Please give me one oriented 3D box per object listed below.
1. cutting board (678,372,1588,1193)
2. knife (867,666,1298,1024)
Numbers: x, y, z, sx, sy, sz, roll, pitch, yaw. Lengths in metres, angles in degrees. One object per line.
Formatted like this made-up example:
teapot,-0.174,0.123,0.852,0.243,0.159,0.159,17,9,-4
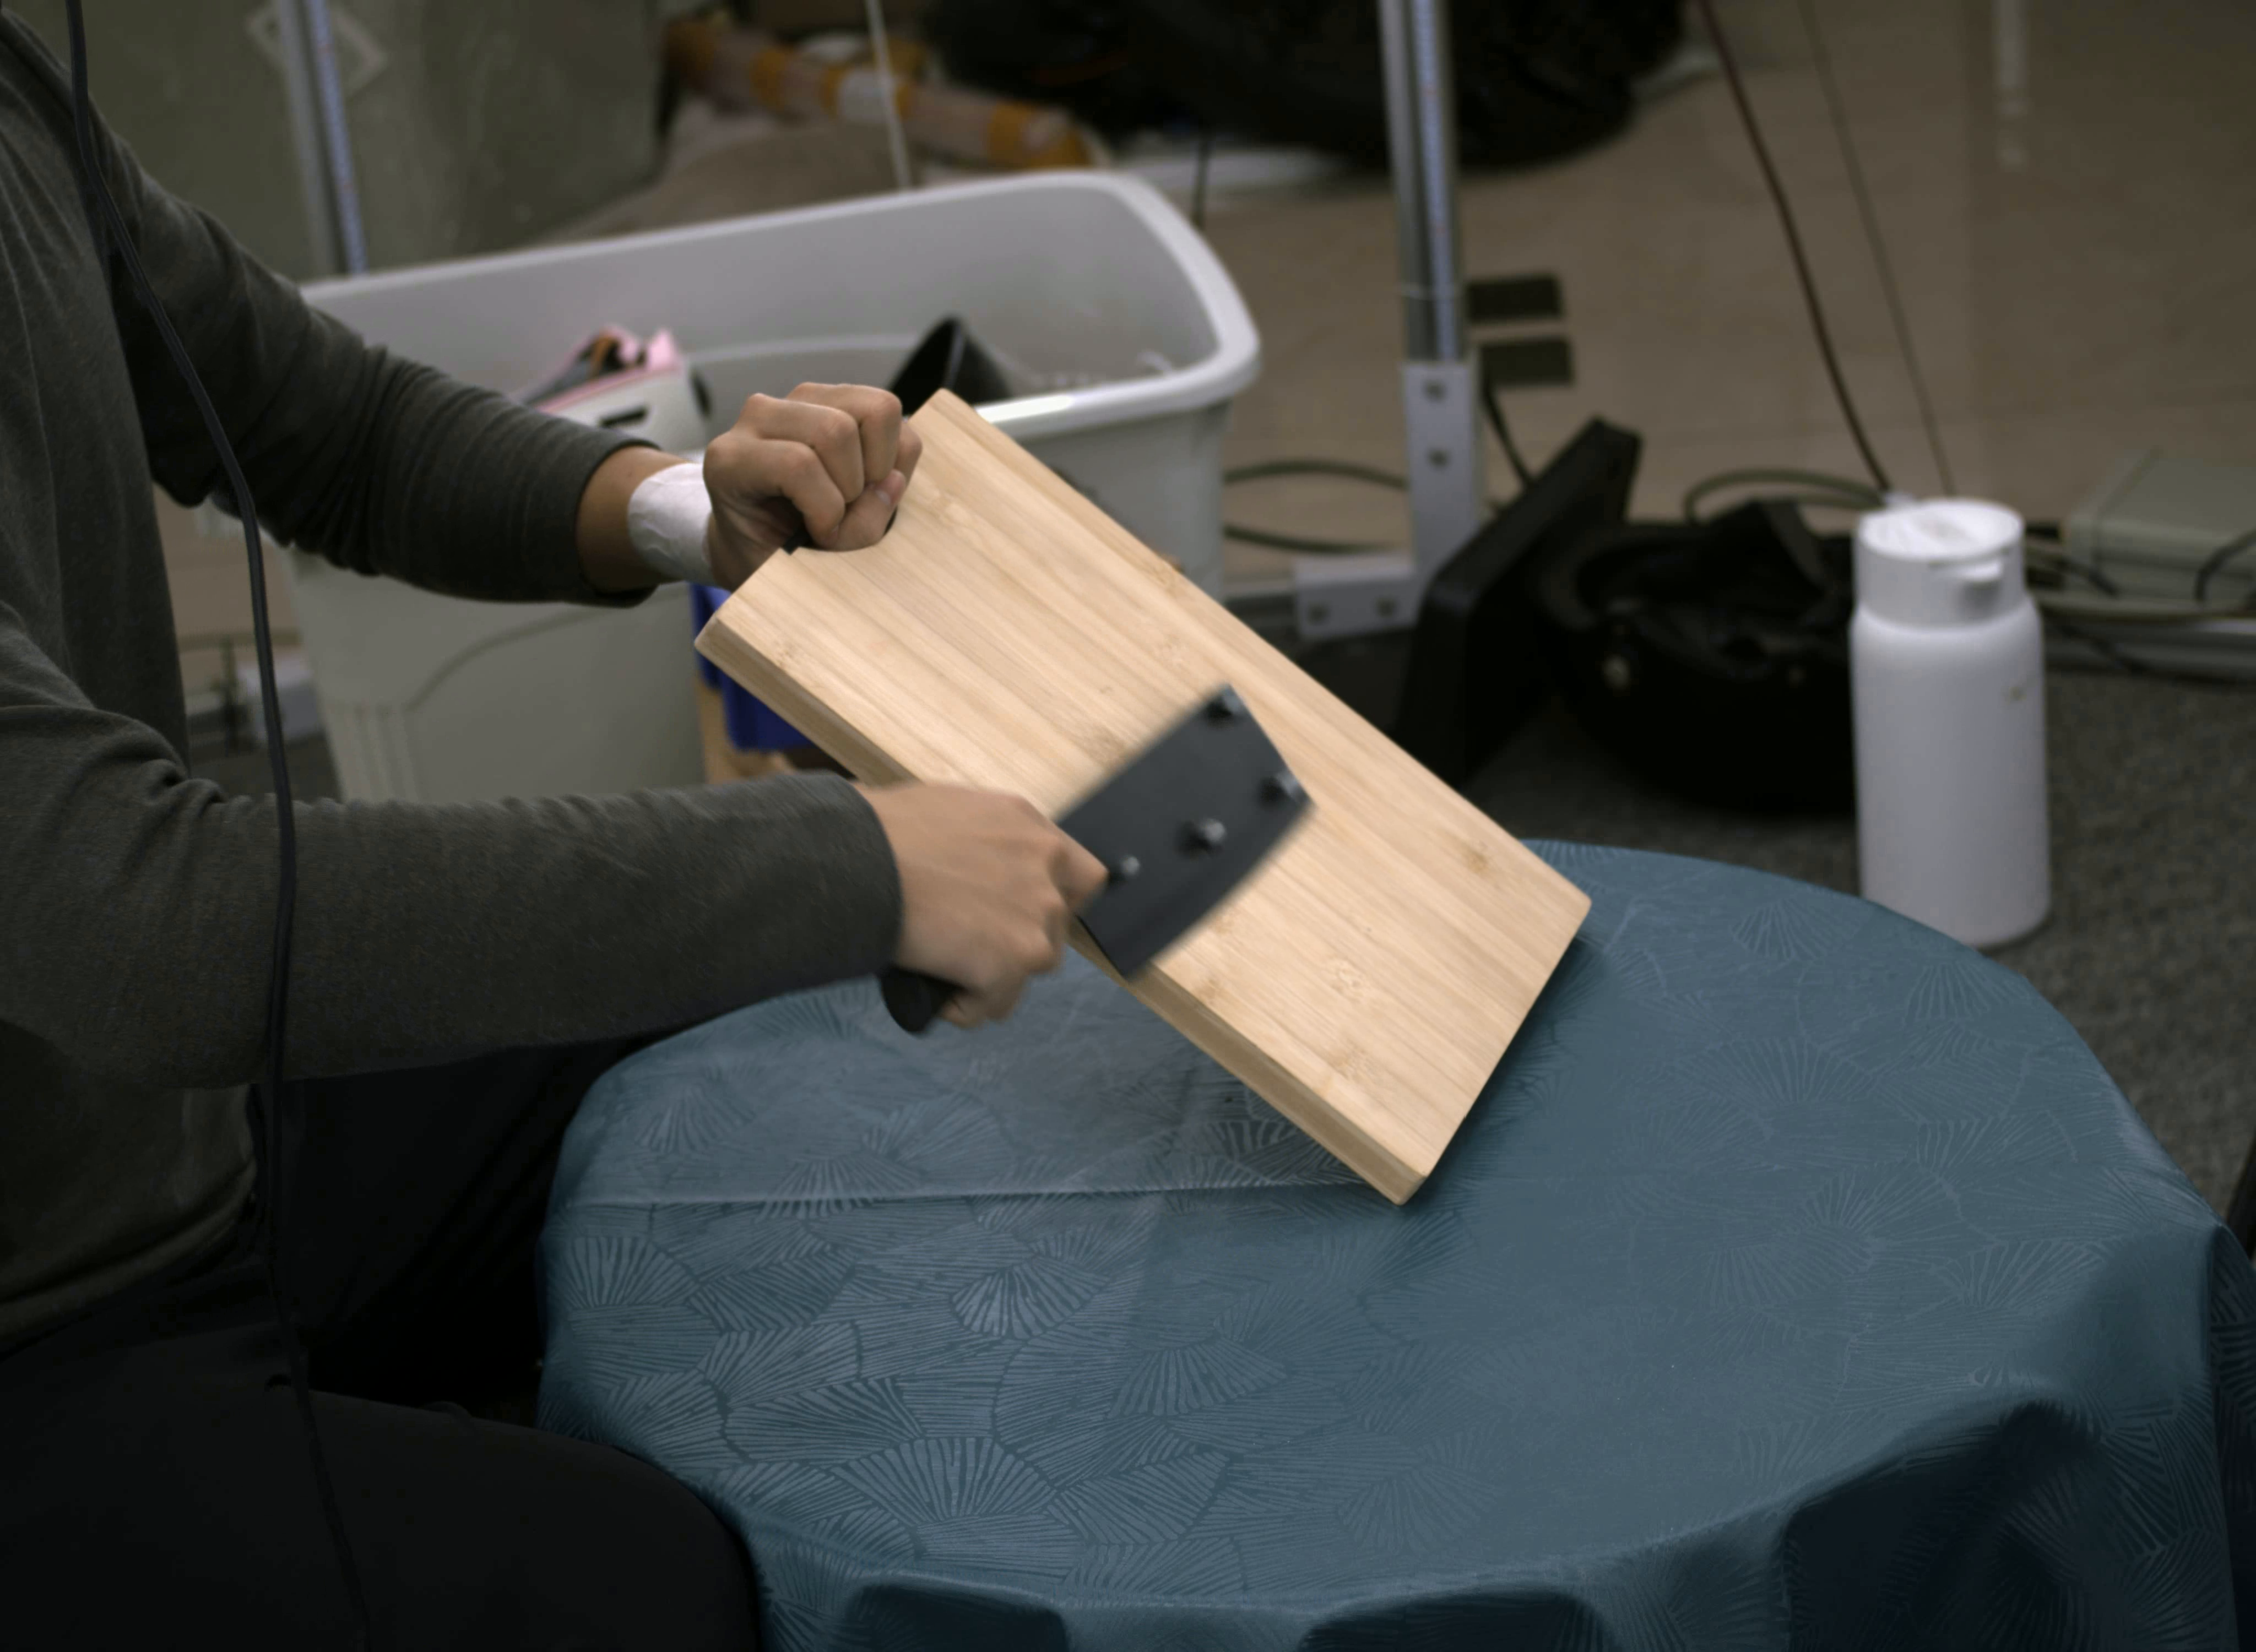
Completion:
cutting board,0.009,-0.022,2.208,0.349,0.024,0.247,38,32,-2
knife,-0.014,0.012,2.110,0.021,0.081,0.299,-34,-1,34
